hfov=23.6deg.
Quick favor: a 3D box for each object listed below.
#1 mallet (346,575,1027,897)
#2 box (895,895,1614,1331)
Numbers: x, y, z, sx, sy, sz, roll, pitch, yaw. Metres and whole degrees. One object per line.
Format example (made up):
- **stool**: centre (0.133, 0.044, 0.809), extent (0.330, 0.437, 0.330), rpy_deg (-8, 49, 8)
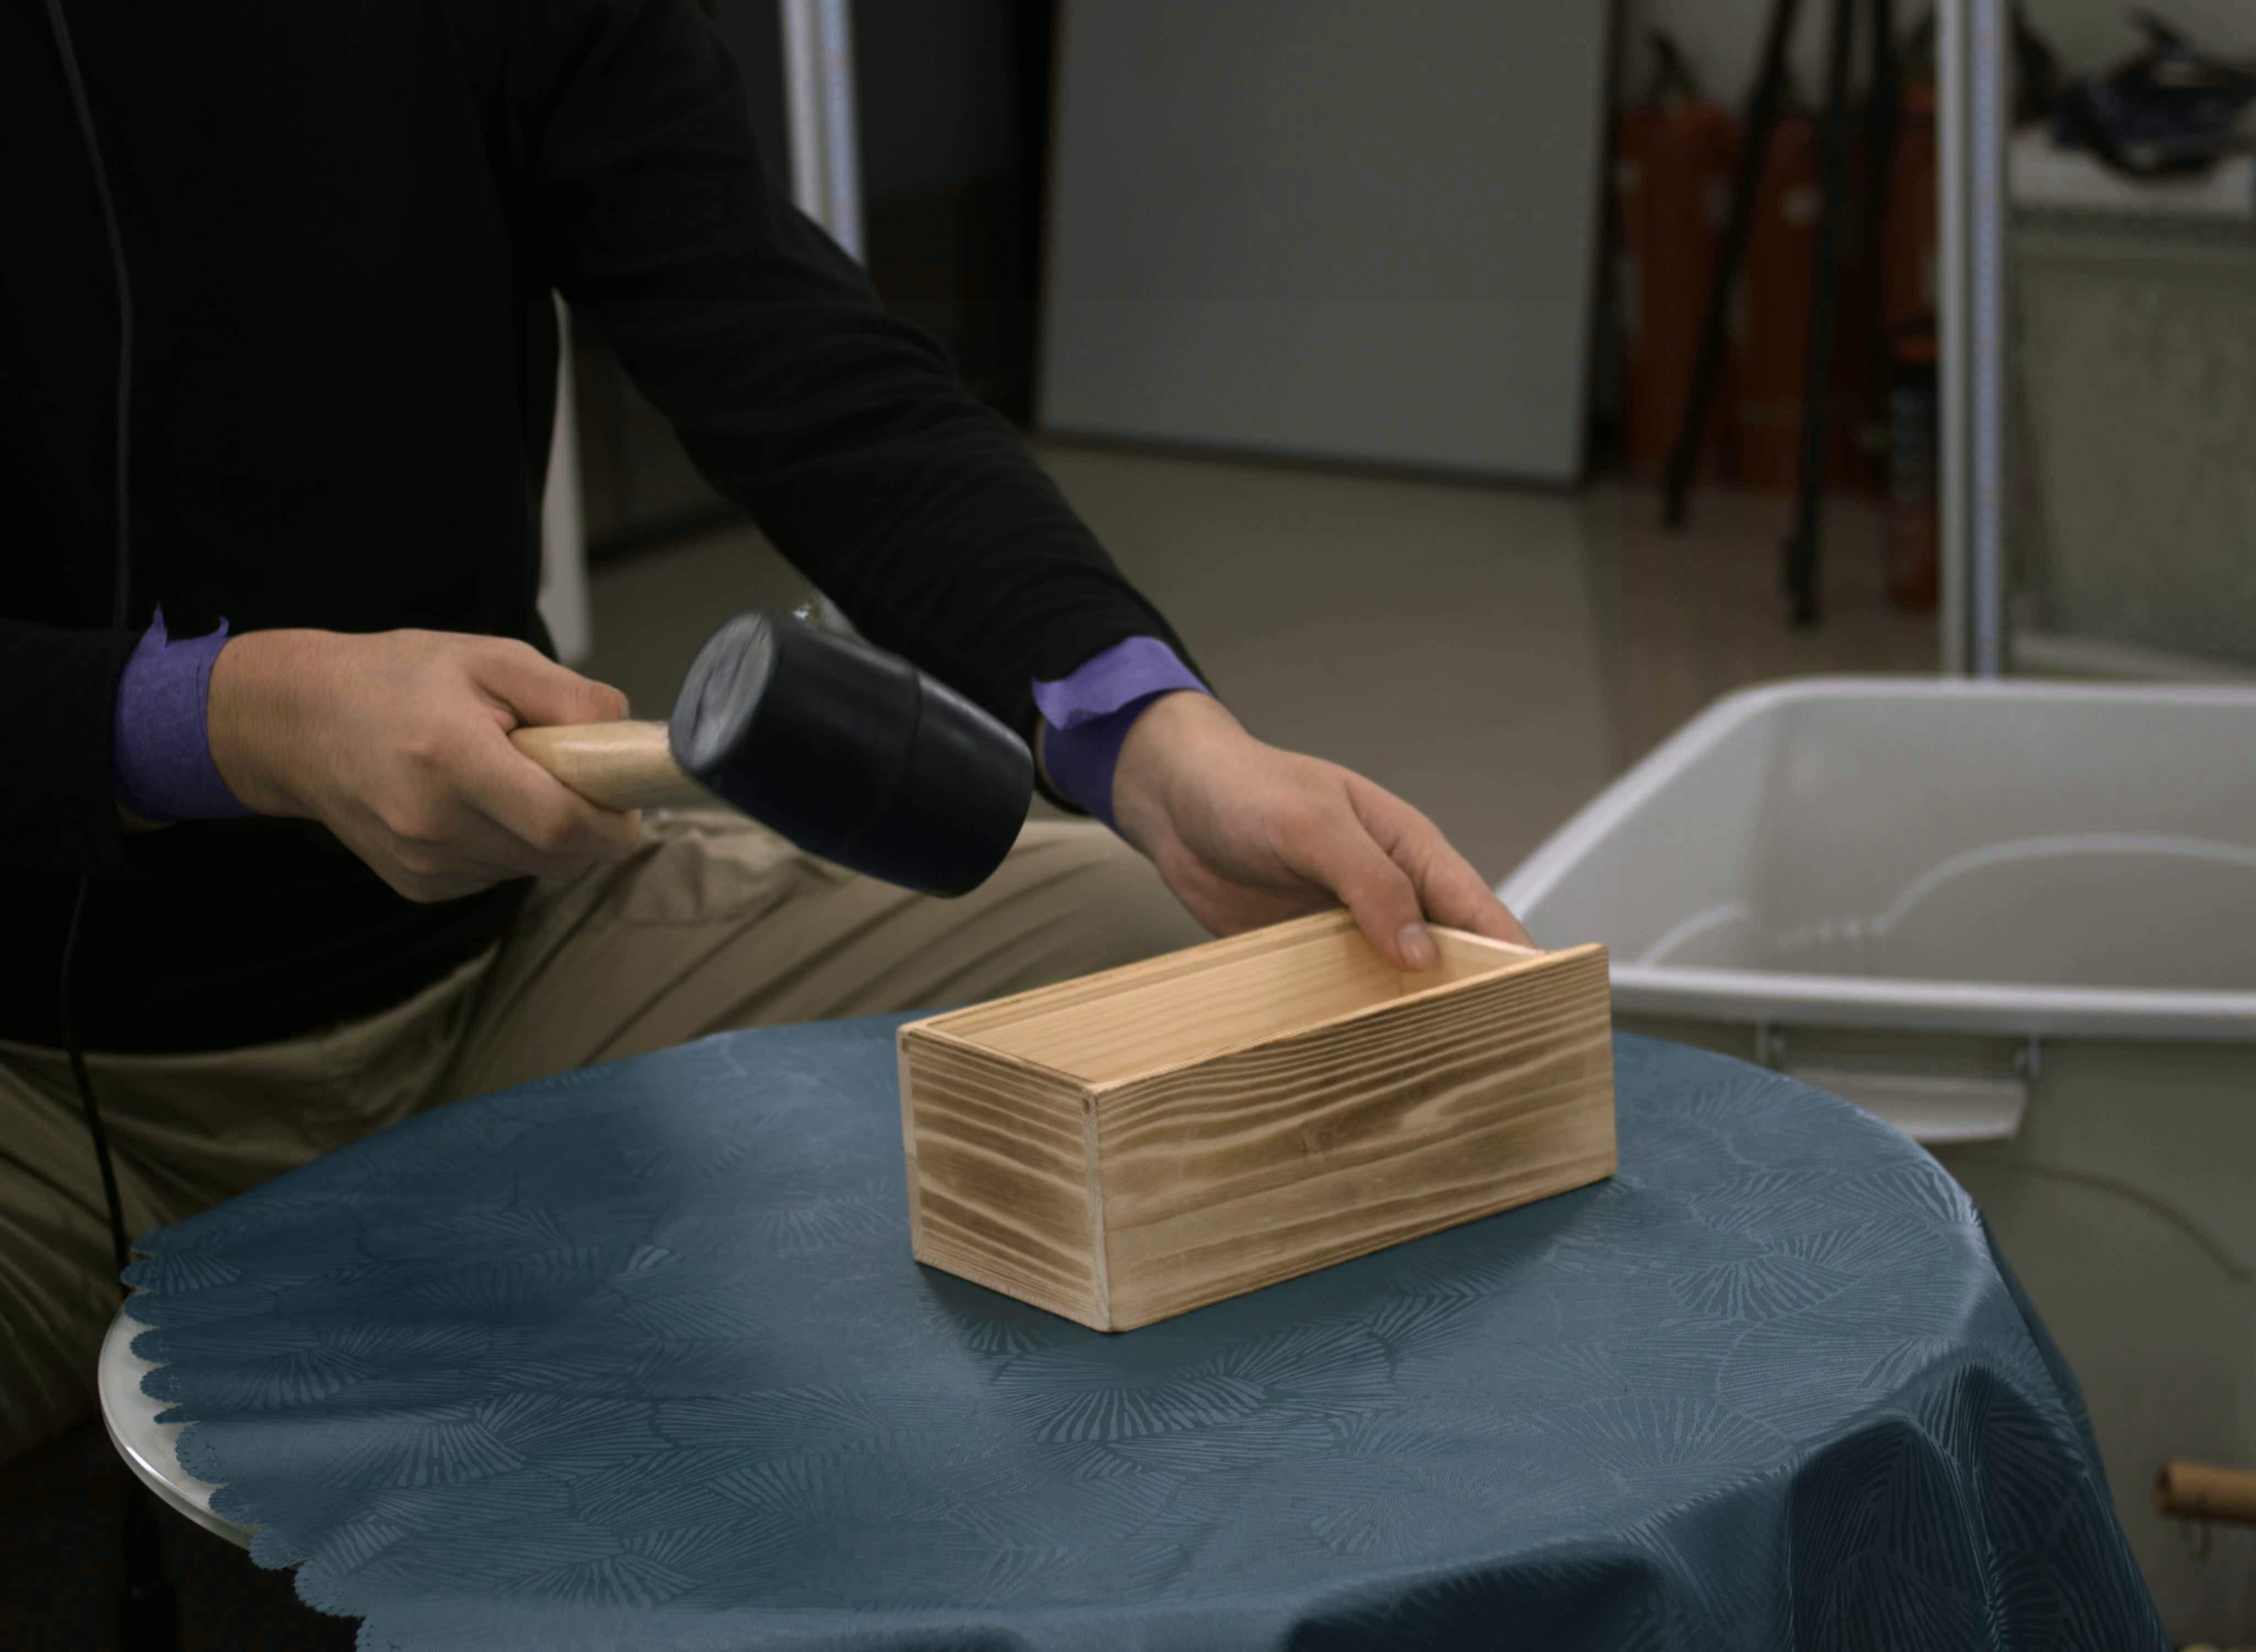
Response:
- **mallet**: centre (-0.157, -0.026, 1.706), extent (0.100, 0.064, 0.342), rpy_deg (34, -18, -27)
- **box**: centre (0.043, 0.088, 1.726), extent (0.207, 0.081, 0.108), rpy_deg (-14, 16, -35)
